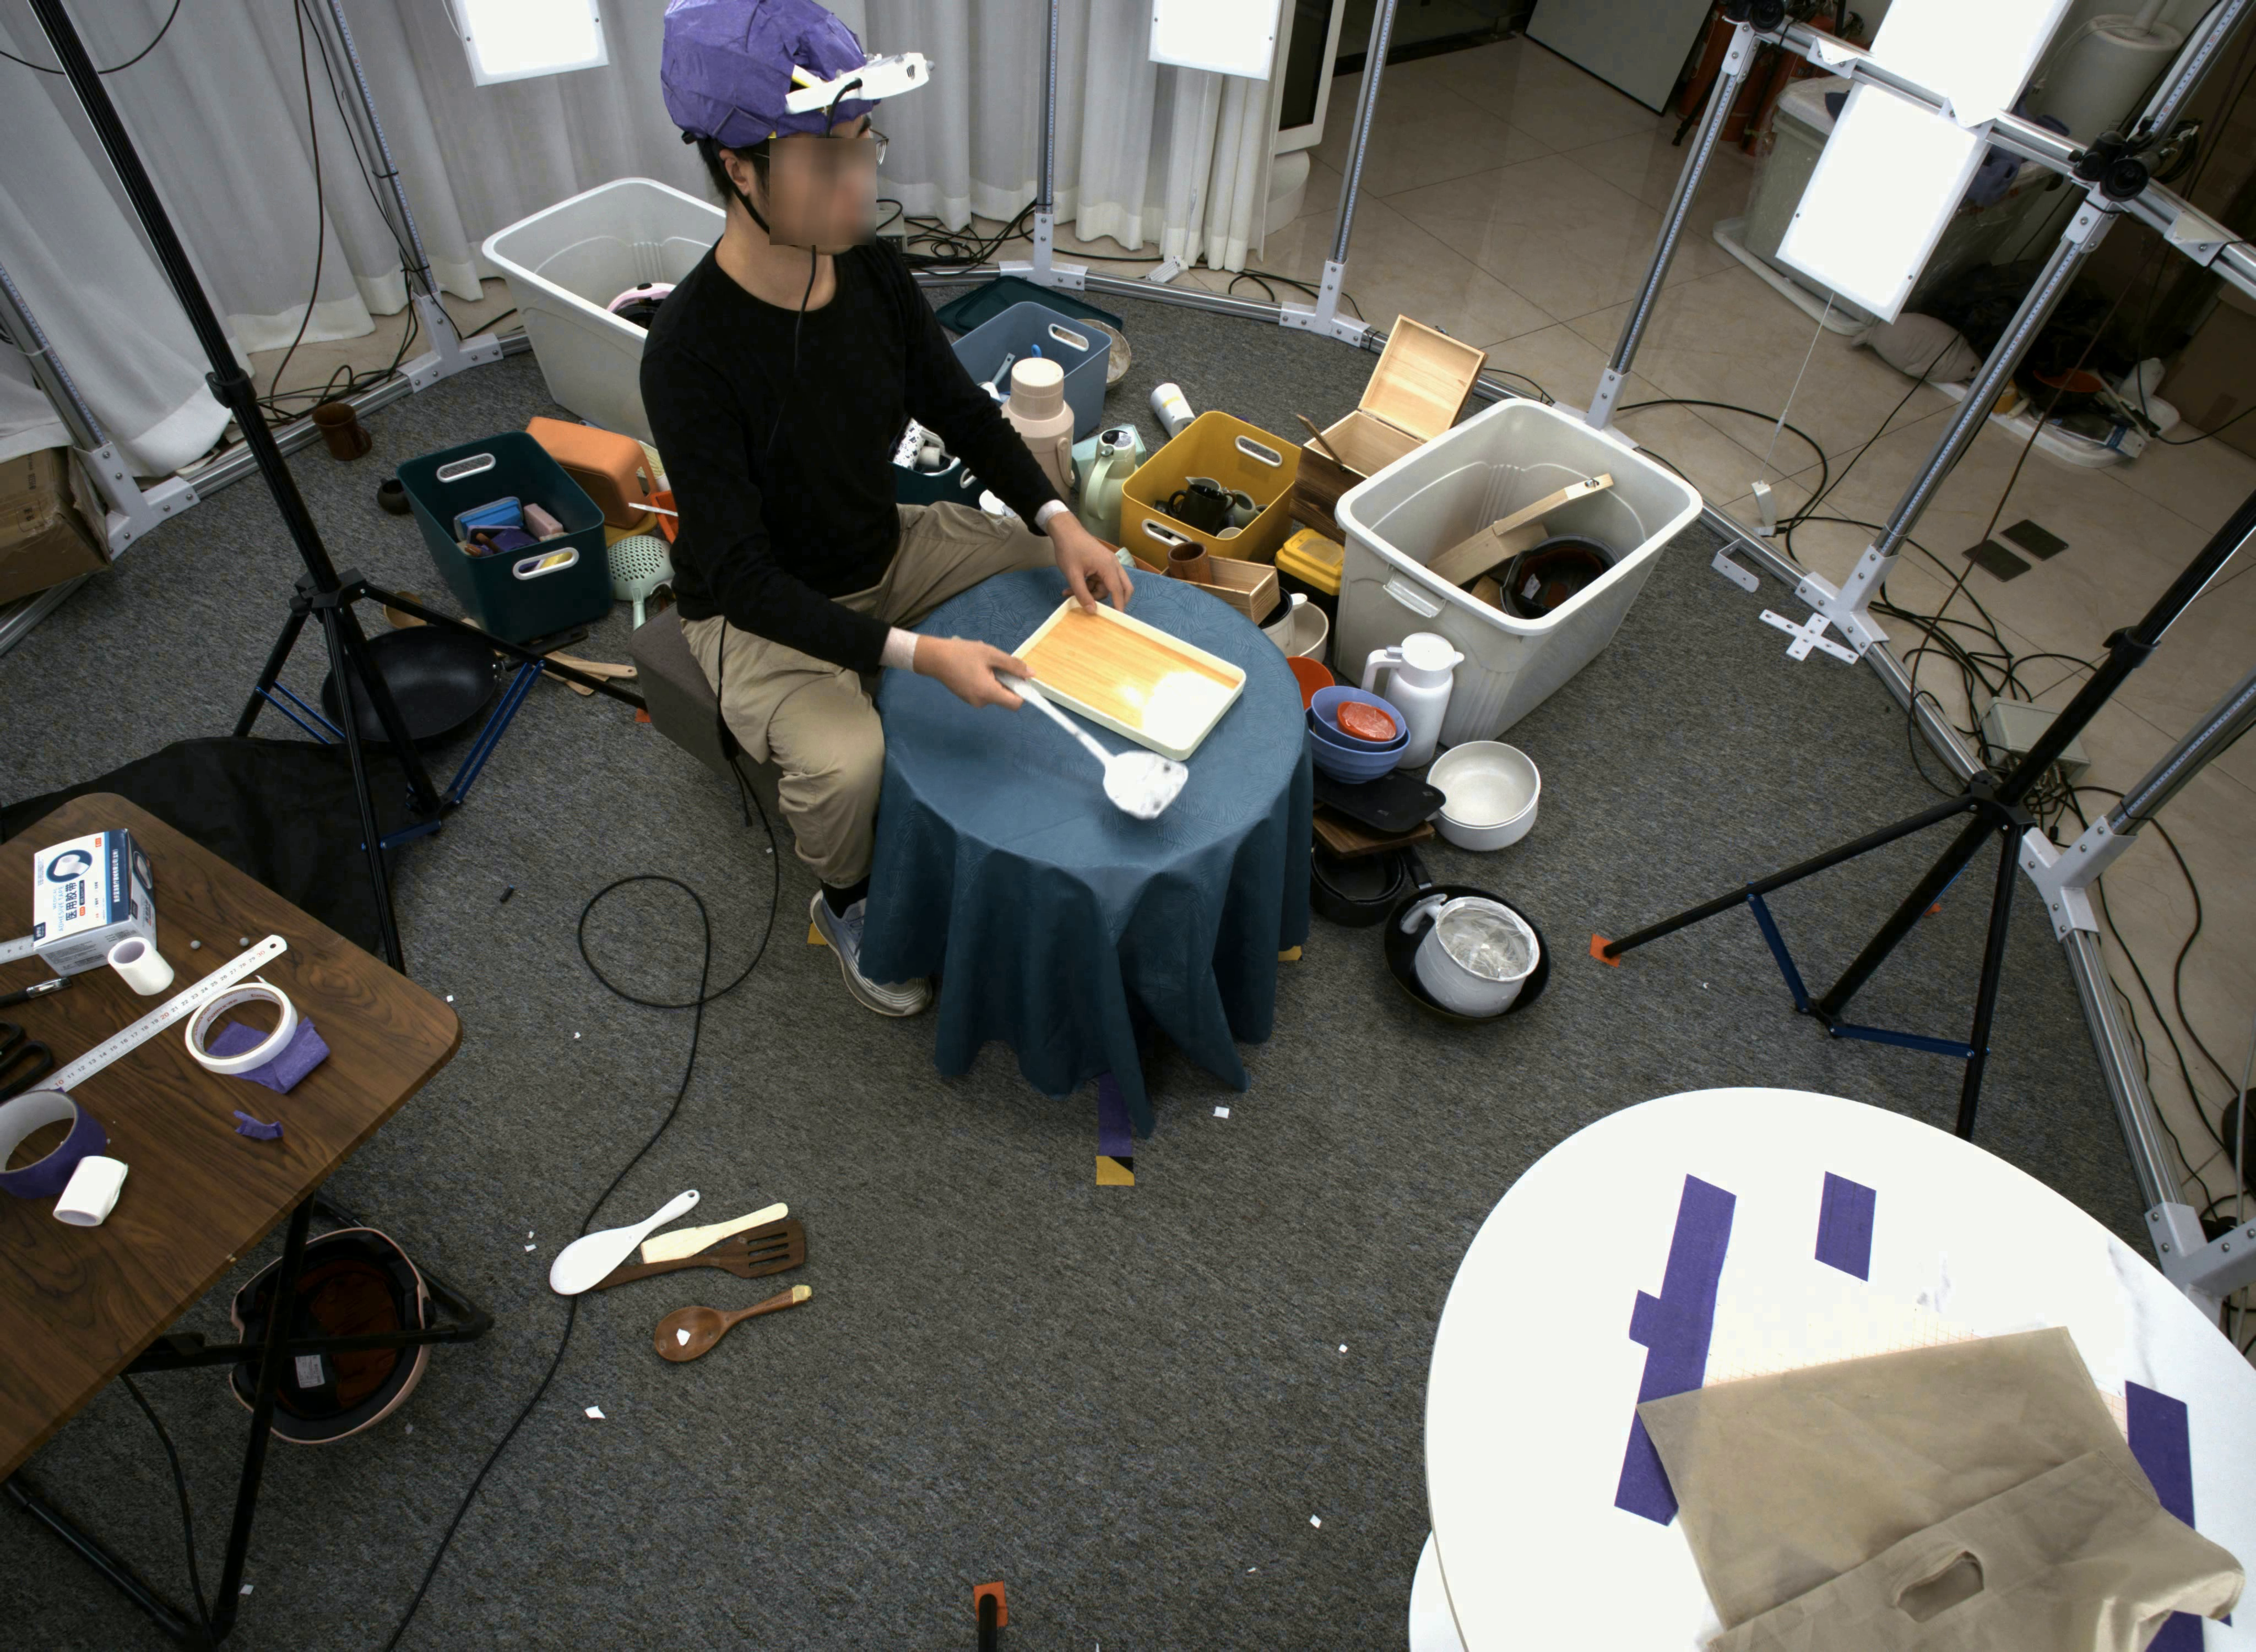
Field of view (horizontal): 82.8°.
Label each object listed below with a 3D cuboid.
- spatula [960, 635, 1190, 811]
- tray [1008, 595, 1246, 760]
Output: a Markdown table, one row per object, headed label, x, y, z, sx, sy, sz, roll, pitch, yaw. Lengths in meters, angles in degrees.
| label | x | y | z | sx | sy | sz | roll | pitch | yaw |
| --- | --- | --- | --- | --- | --- | --- | --- | --- | --- |
| spatula | -0.084 | -0.146 | 1.672 | 0.367 | 0.044 | 0.100 | 38 | 65 | 8 |
| tray | -0.002 | -0.218 | 1.839 | 0.303 | 0.027 | 0.194 | 28 | 54 | 19 |
